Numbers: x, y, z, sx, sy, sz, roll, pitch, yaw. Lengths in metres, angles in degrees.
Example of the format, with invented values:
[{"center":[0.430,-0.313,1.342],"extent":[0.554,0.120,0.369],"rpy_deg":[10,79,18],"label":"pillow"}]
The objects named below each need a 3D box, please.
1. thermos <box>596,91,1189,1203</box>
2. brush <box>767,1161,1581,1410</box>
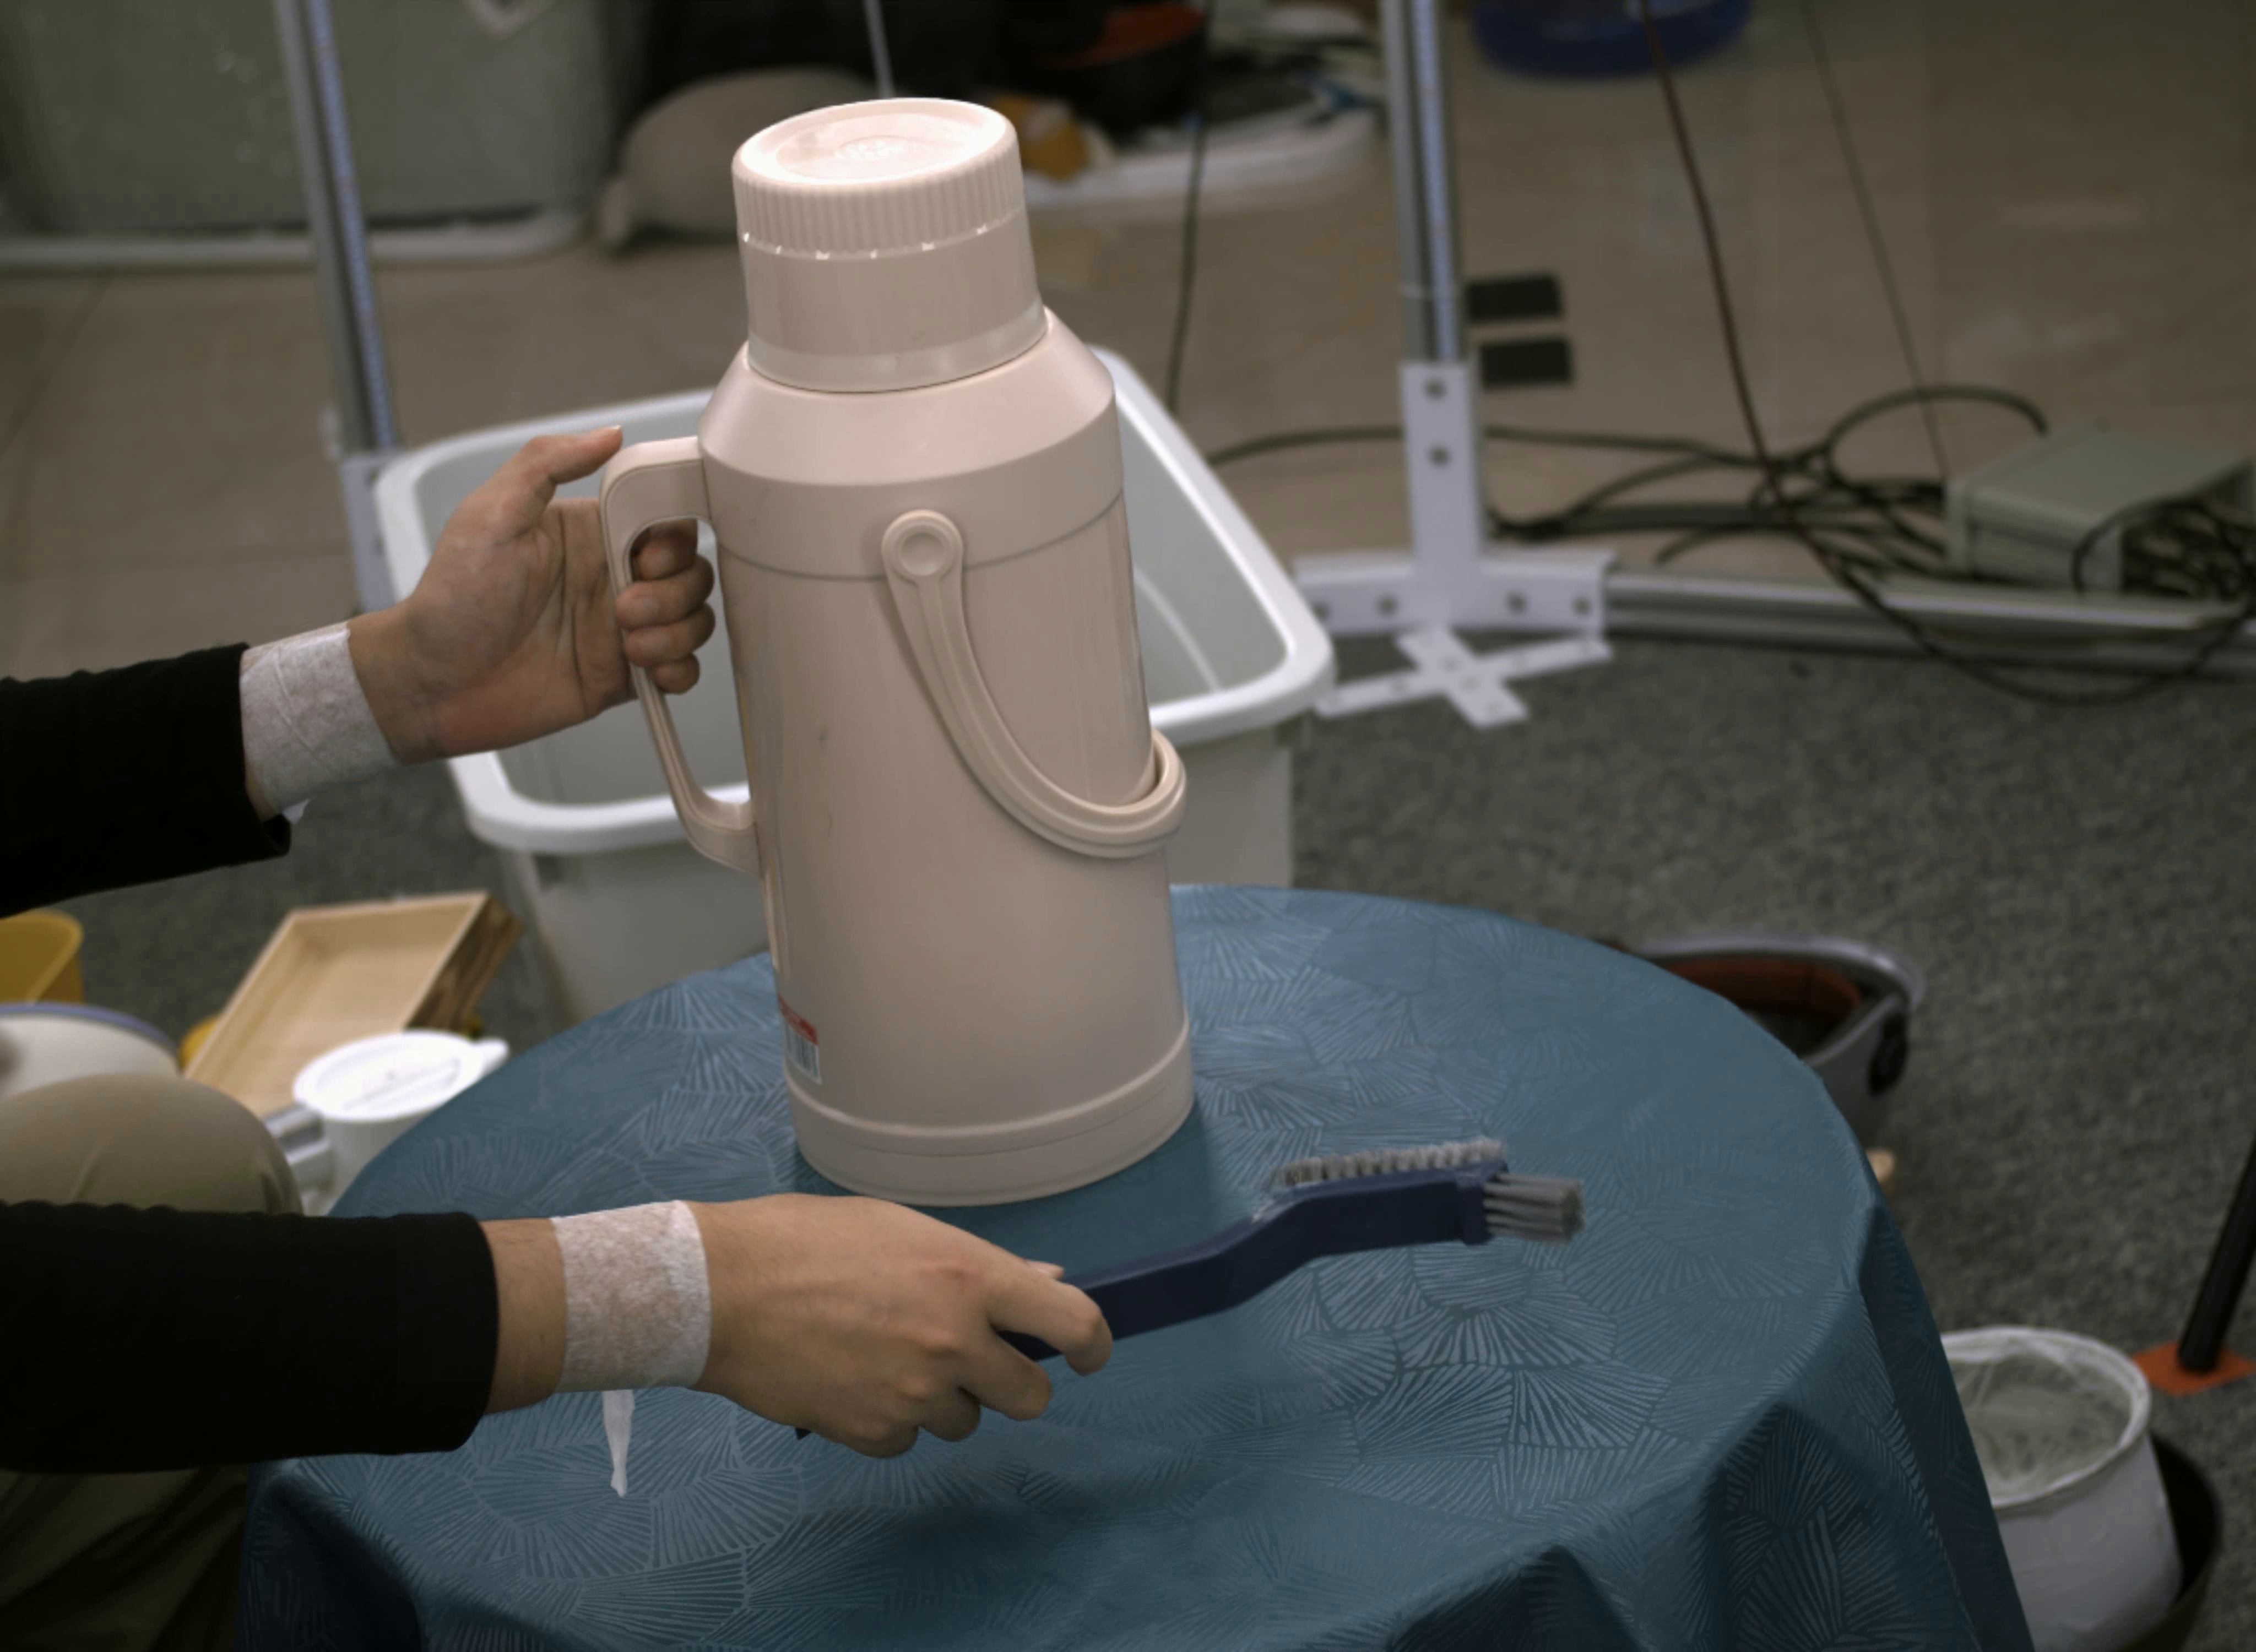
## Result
[{"center":[-0.088,-0.067,2.134],"extent":[0.206,0.413,0.172],"rpy_deg":[-7,27,-2],"label":"thermos"},{"center":[0.014,0.158,1.946],"extent":[0.272,0.034,0.094],"rpy_deg":[-17,26,-17],"label":"brush"}]
